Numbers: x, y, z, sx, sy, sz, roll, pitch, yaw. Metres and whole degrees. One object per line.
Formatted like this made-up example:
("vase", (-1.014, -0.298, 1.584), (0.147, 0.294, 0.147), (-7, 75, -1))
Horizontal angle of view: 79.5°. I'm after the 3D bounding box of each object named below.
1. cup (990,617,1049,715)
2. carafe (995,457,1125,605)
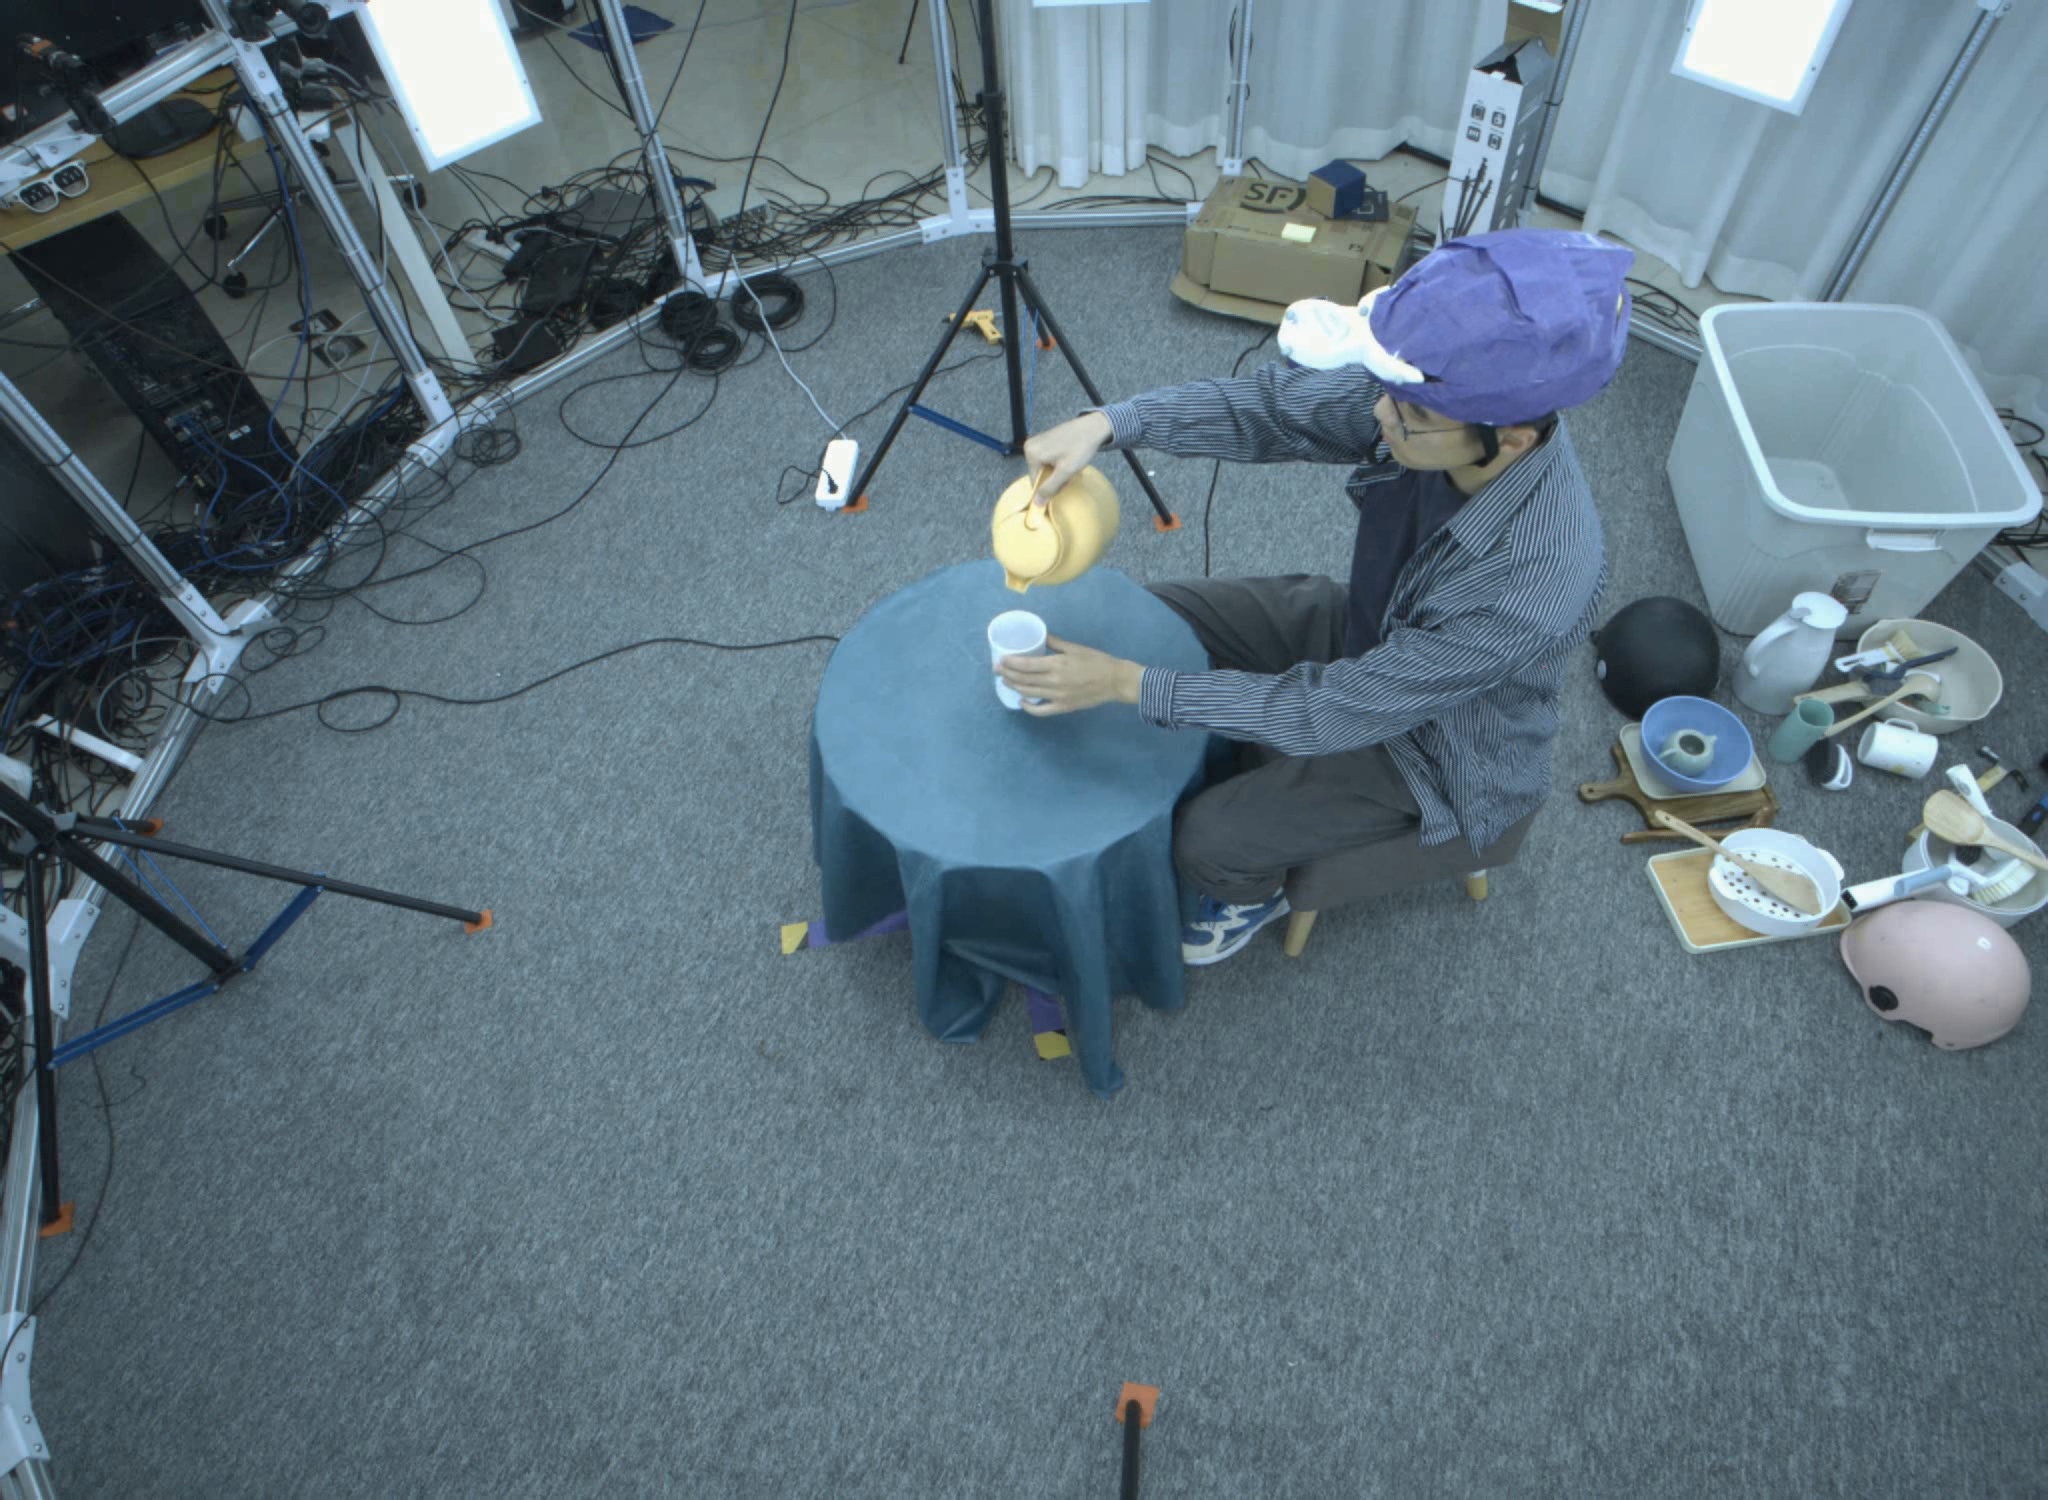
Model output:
("cup", (-0.006, -0.116, 1.744), (0.082, 0.126, 0.081), (1, 51, 1))
("carafe", (0.048, -0.318, 1.736), (0.162, 0.203, 0.261), (20, 26, 8))
